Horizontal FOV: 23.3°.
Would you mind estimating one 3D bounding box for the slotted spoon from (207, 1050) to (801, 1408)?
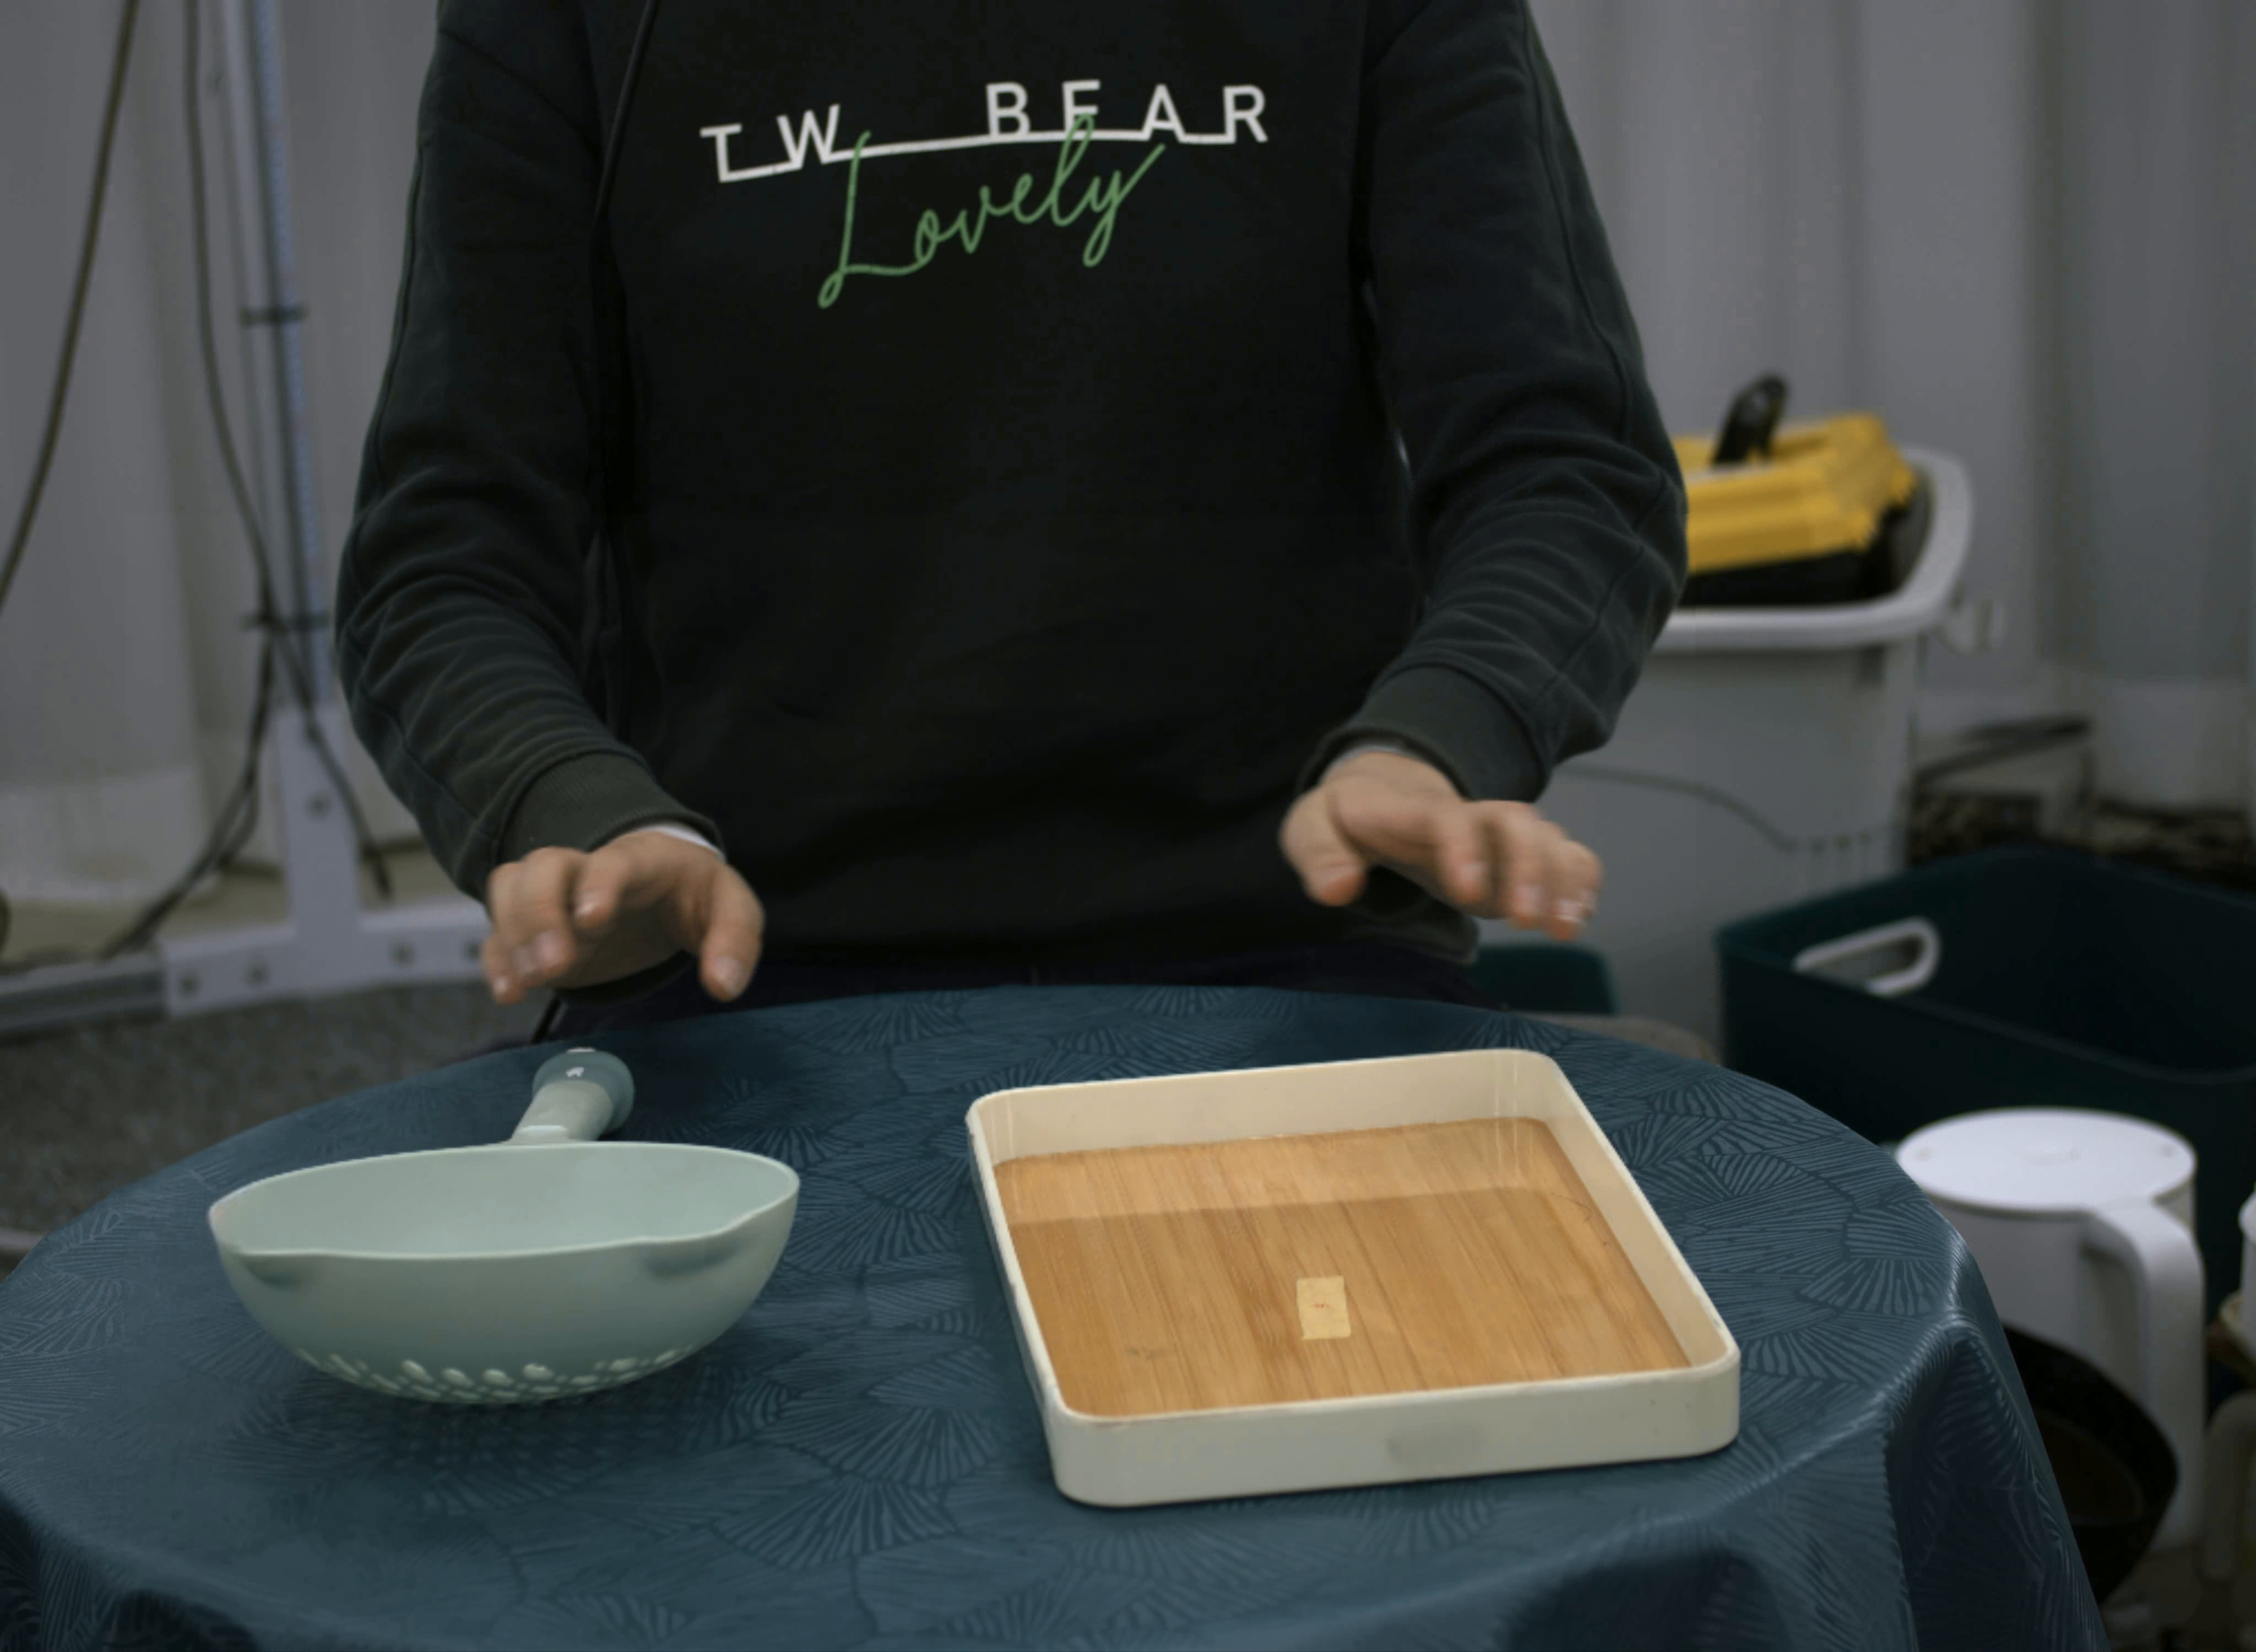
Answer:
[{"bbox_3d":[-0.177,0.106,1.657,0.169,0.075,0.361,-1,15,0],"label":"slotted spoon"}]

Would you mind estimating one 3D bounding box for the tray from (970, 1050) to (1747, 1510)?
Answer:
[{"bbox_3d":[0.060,0.128,1.603,0.191,0.027,0.302,-4,15,-5],"label":"tray"}]
